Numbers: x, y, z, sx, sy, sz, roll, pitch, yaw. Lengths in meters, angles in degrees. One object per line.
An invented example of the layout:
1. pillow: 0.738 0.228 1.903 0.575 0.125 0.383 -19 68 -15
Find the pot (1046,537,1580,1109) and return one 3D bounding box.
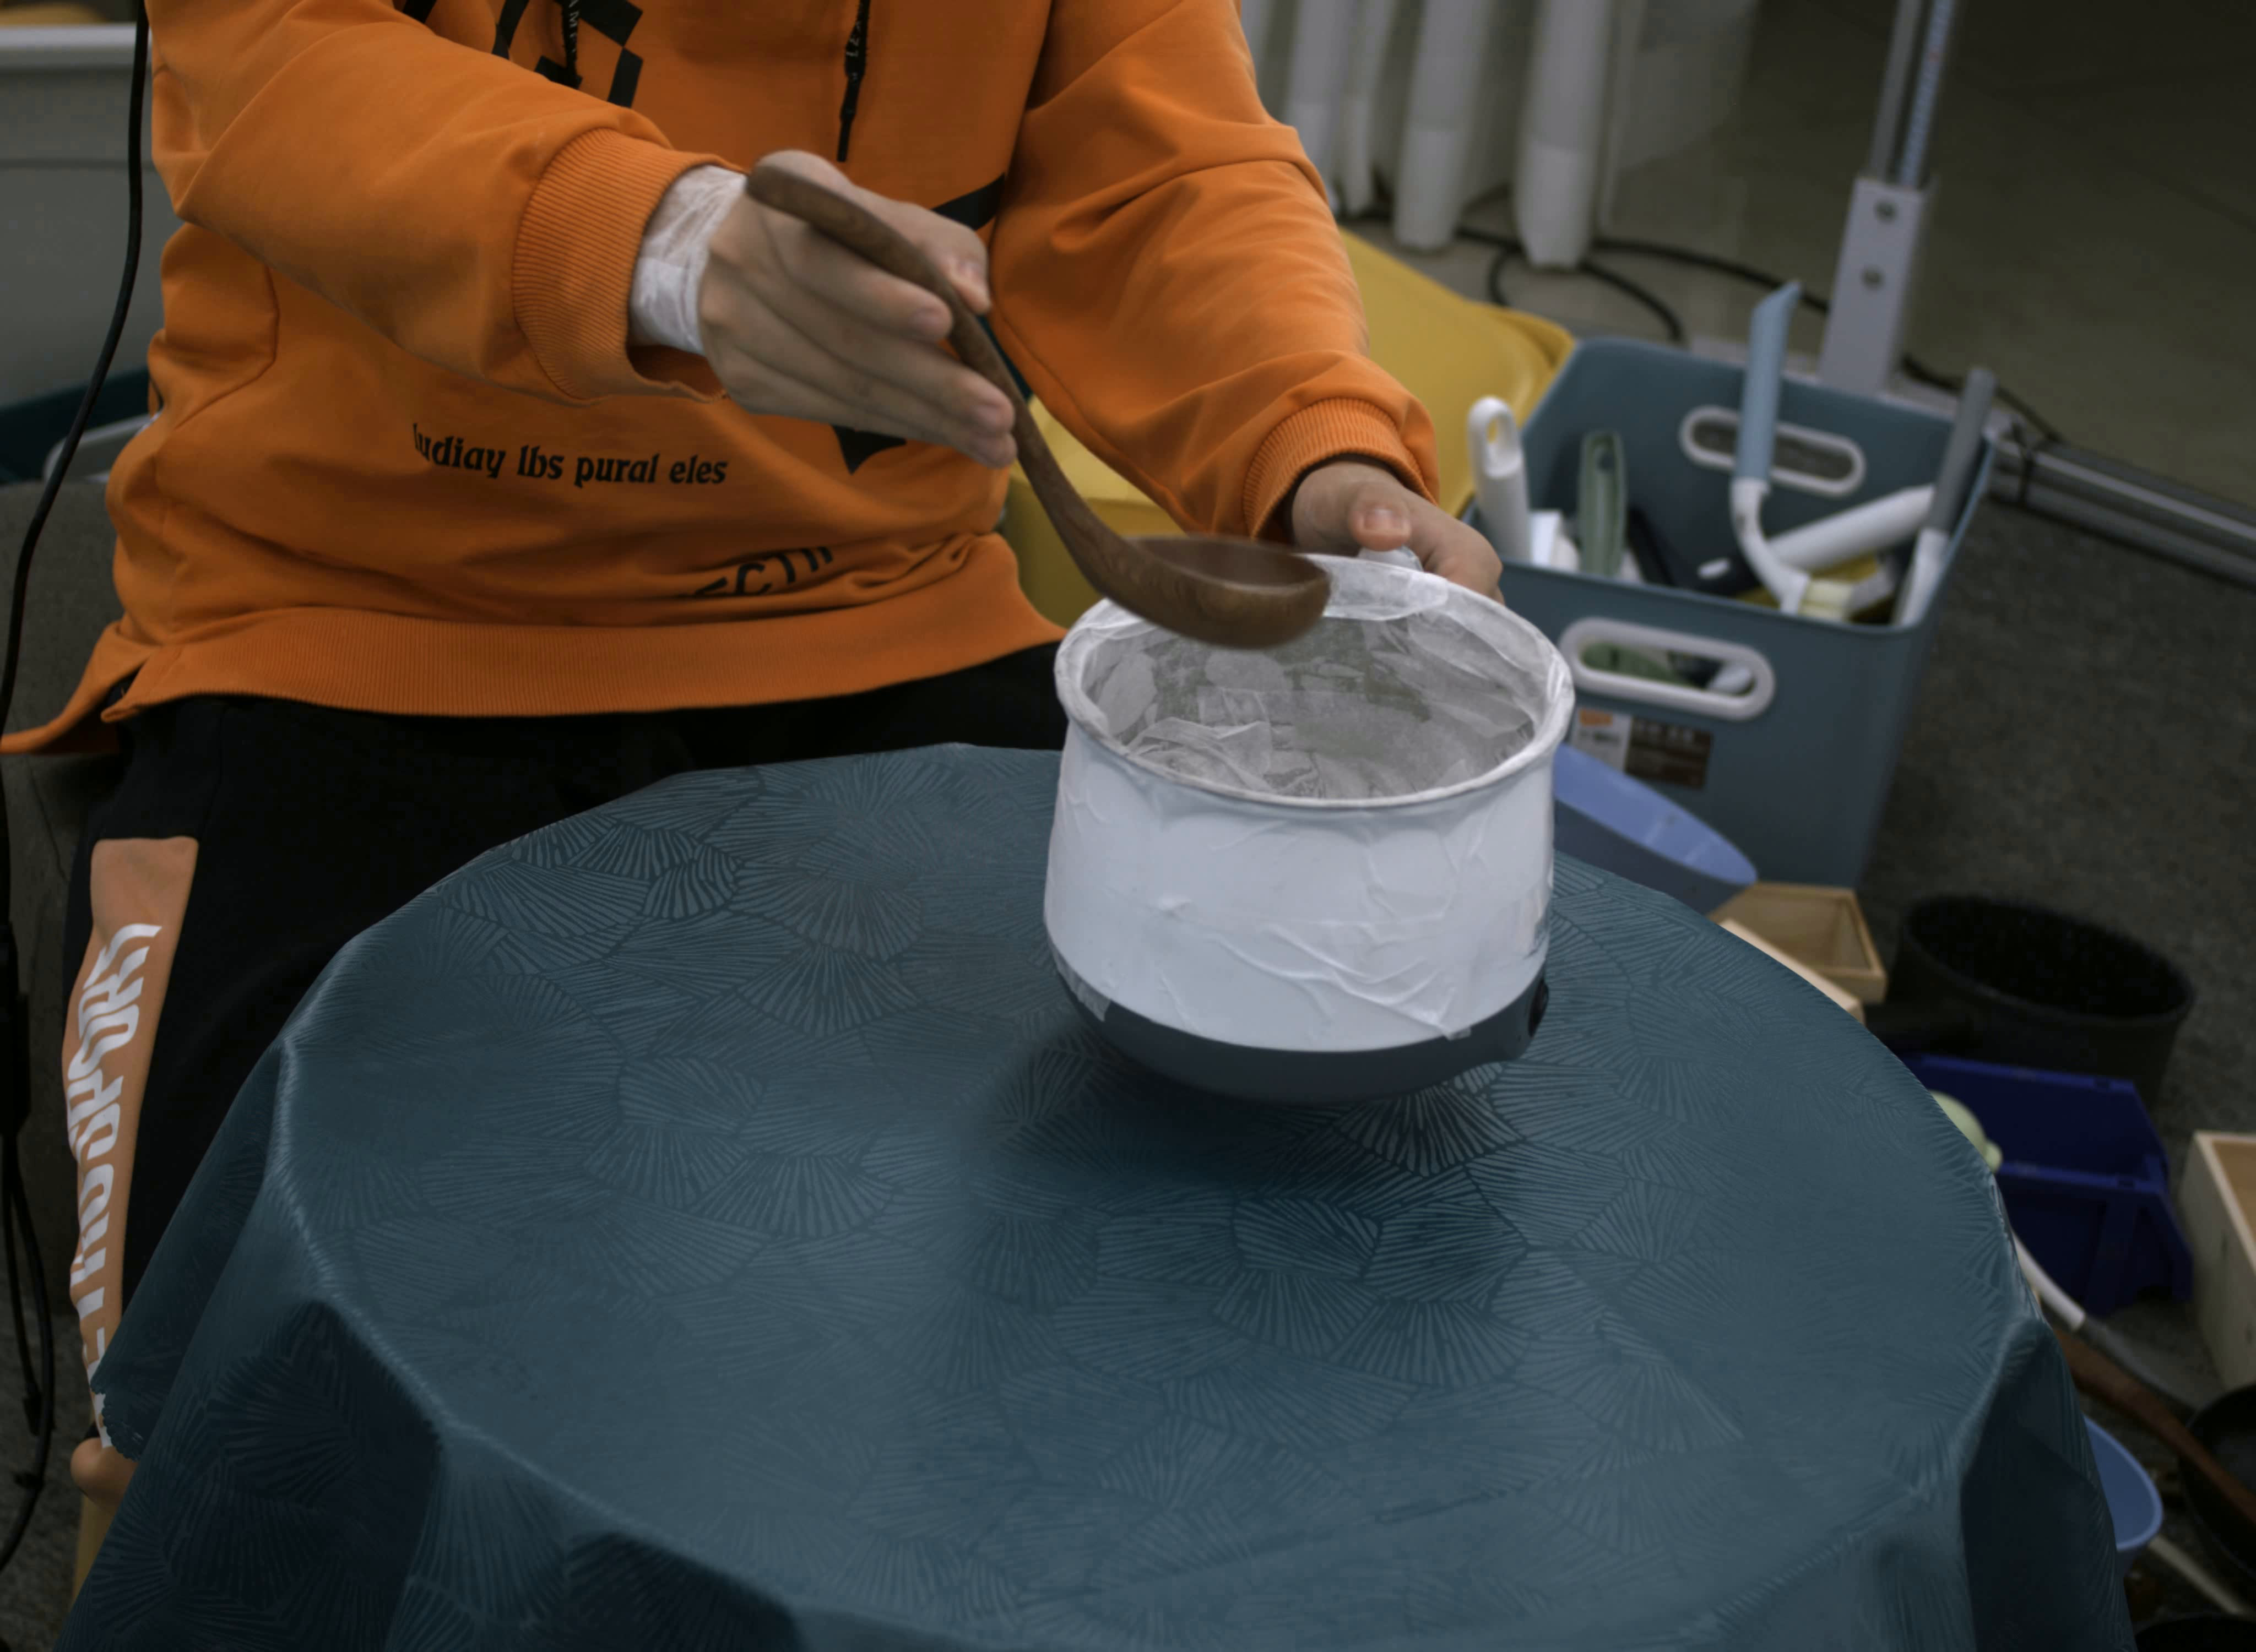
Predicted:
1. pot: 0.068 -0.010 1.859 0.179 0.136 0.234 10 31 12

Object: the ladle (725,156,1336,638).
1. ladle: -0.028 -0.144 1.709 0.065 0.258 0.077 -50 32 -10
